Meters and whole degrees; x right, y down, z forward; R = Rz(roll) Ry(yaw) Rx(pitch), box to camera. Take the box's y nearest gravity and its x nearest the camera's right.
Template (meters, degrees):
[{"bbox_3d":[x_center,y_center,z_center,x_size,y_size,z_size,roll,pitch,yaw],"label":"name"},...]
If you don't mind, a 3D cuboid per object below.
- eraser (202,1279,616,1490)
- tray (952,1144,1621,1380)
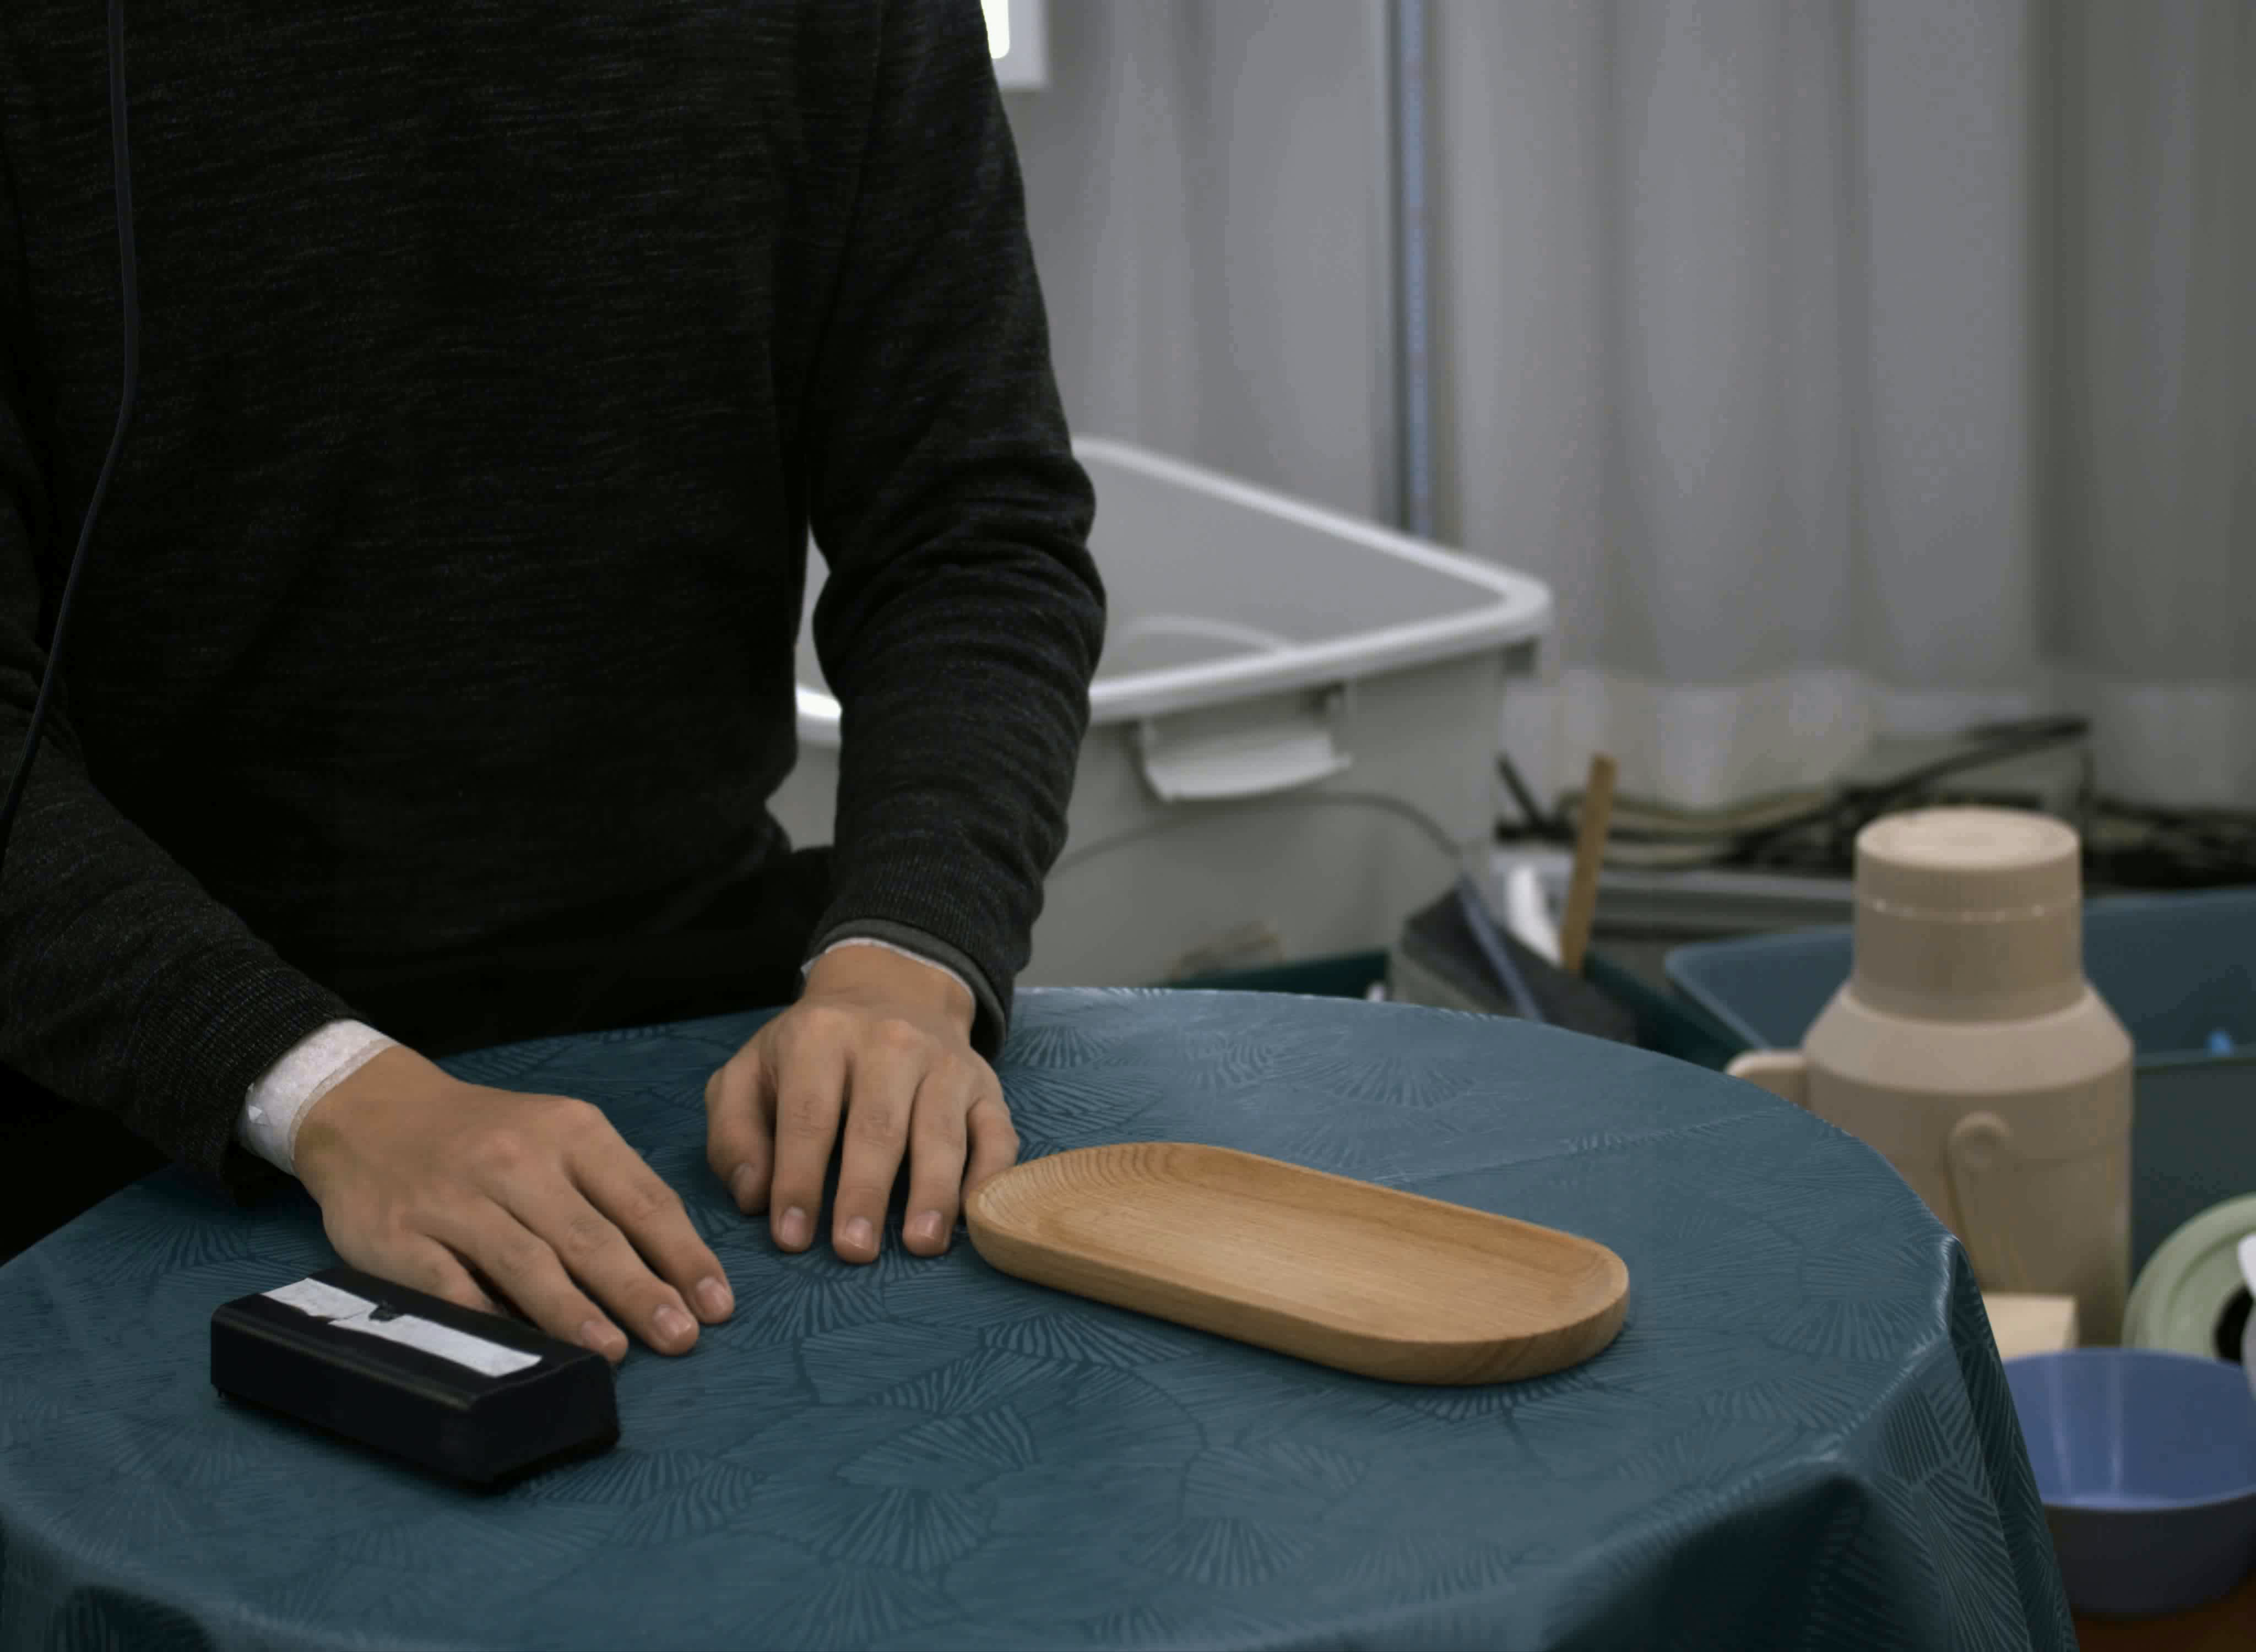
[{"bbox_3d":[-0.202,0.157,1.542,0.053,0.030,0.126,-13,17,-43],"label":"eraser"},{"bbox_3d":[0.045,0.128,1.623,0.232,0.020,0.101,9,18,43],"label":"tray"}]
